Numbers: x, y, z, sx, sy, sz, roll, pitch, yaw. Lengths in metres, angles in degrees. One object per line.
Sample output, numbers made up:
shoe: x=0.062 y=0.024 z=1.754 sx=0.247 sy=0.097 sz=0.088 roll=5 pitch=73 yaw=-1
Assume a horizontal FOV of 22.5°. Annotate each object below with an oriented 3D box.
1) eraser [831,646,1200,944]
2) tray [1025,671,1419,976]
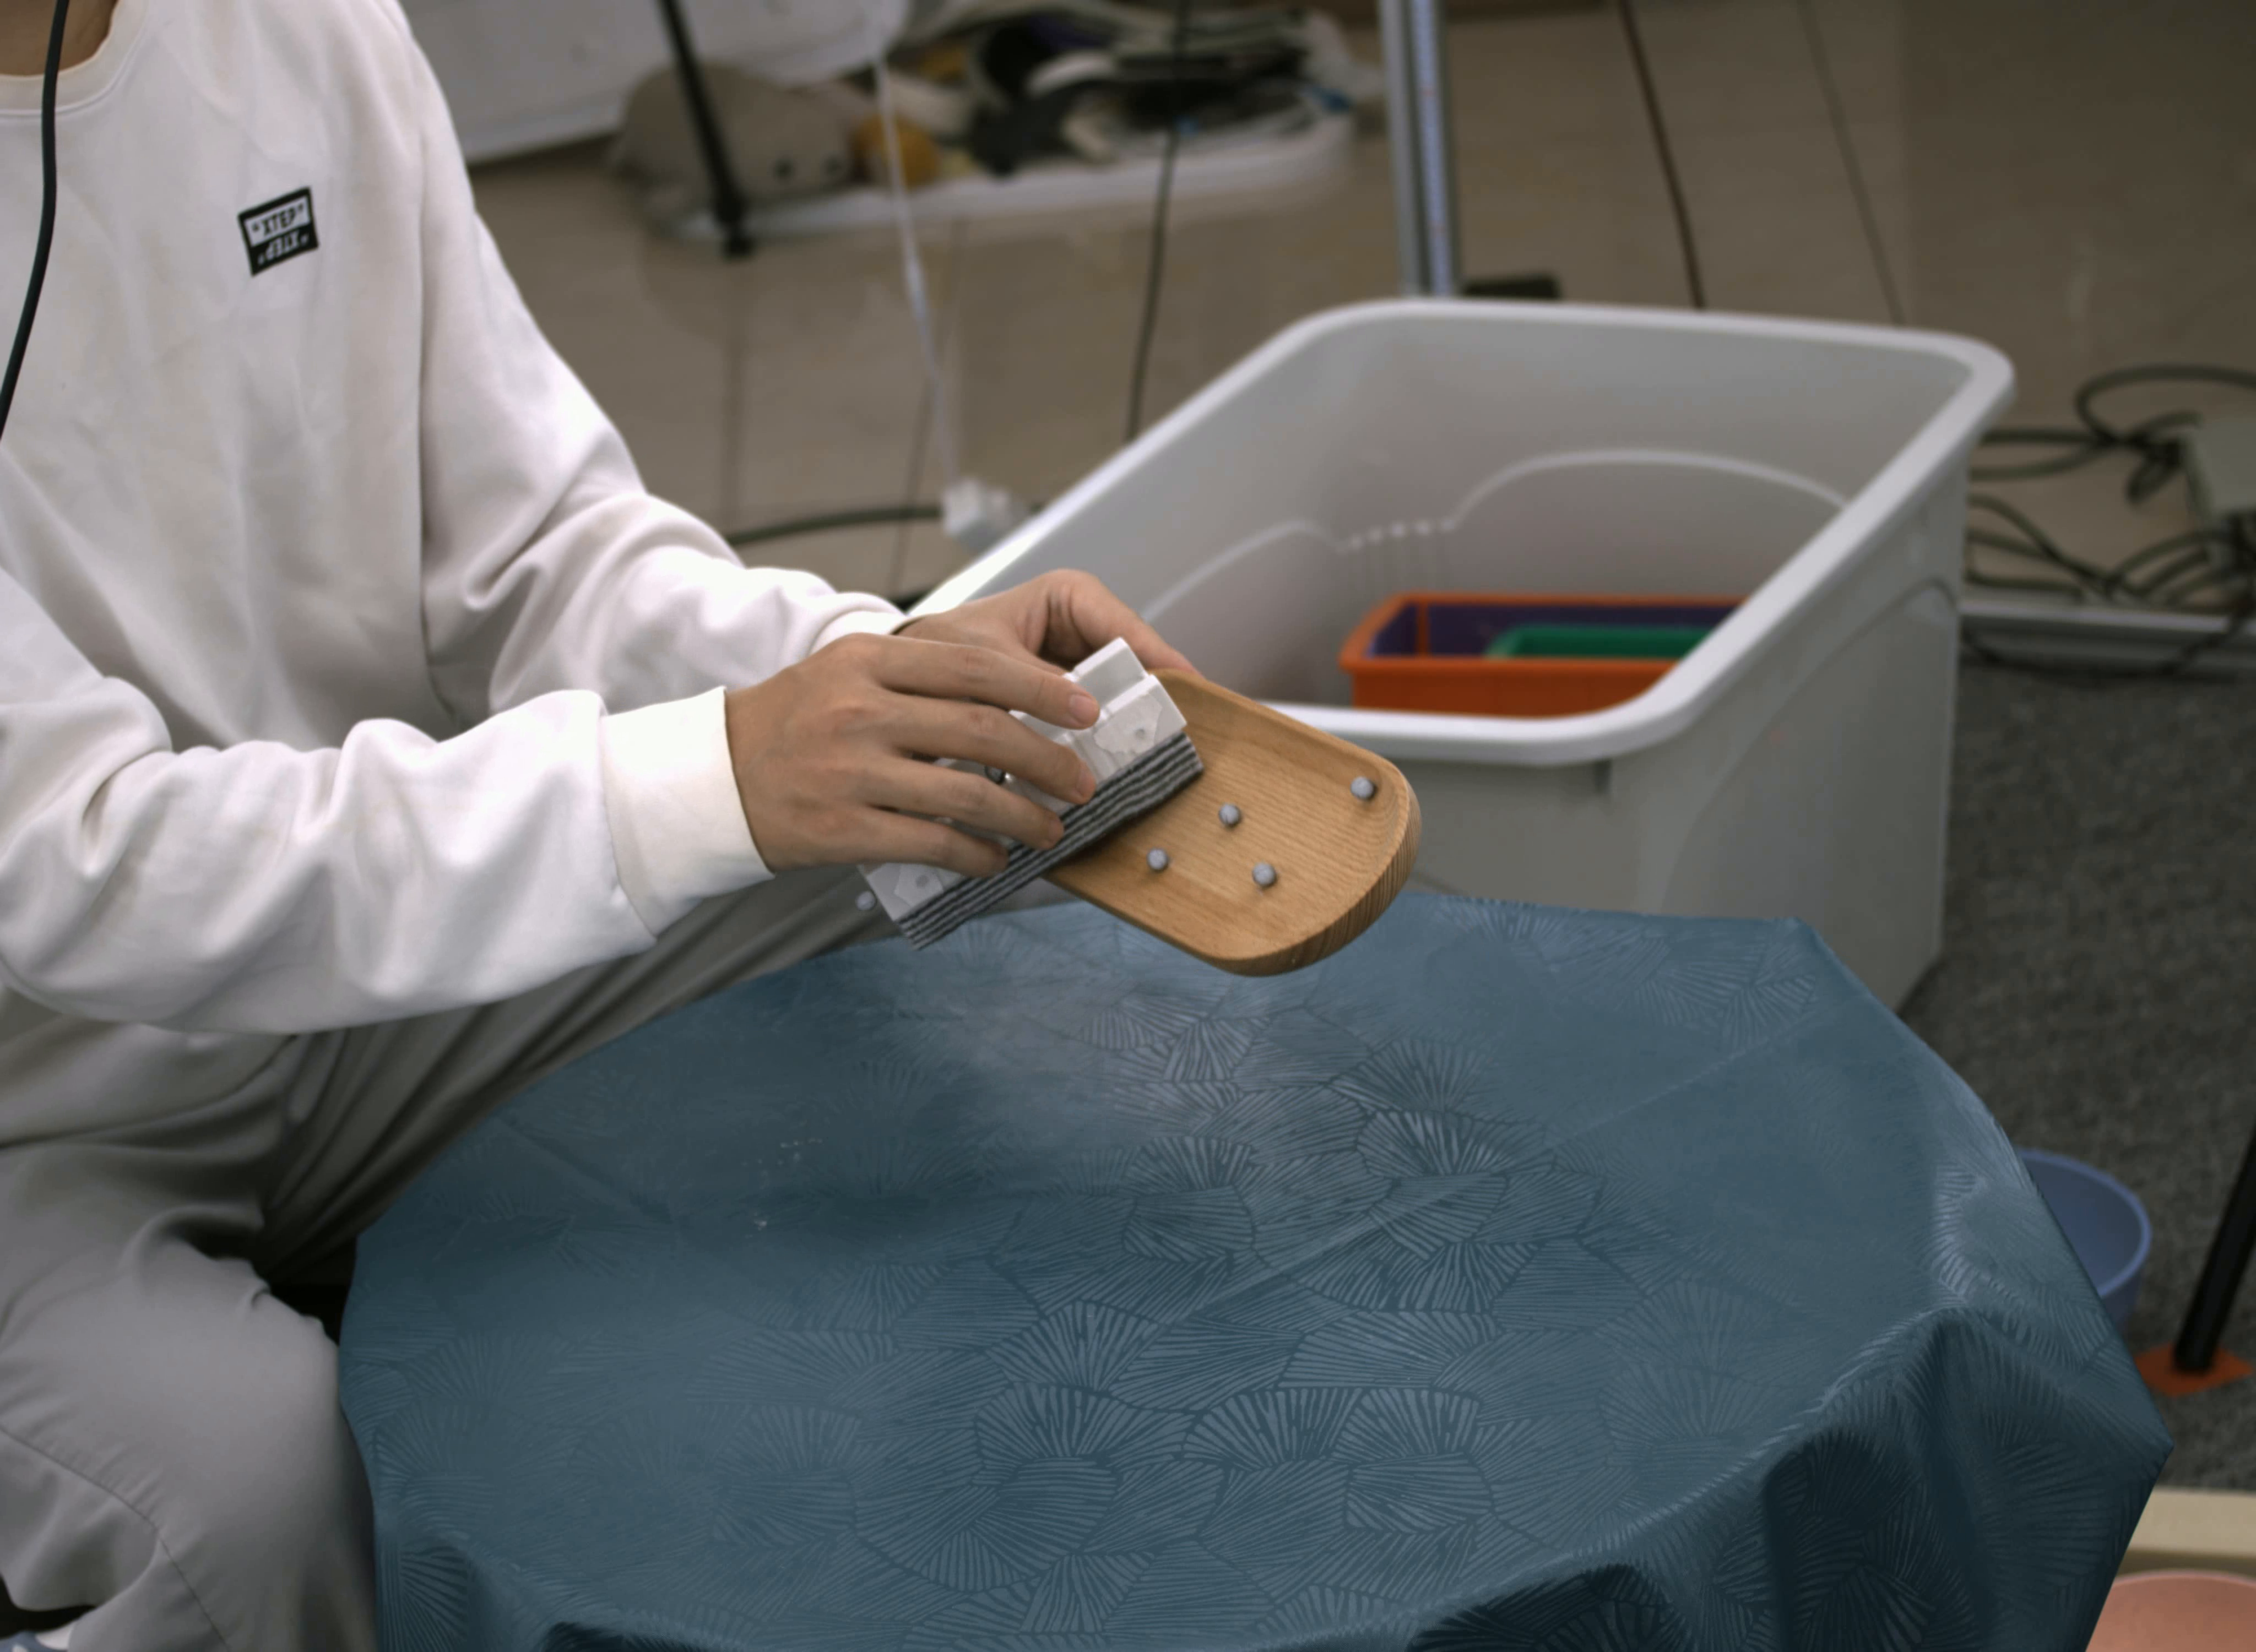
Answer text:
eraser: x=-0.041 y=-0.012 z=2.155 sx=0.134 sy=0.047 sz=0.049 roll=-33 pitch=26 yaw=-6
tray: x=0.028 y=-0.002 z=2.130 sx=0.101 sy=0.020 sz=0.229 roll=-47 pitch=33 yaw=-13
